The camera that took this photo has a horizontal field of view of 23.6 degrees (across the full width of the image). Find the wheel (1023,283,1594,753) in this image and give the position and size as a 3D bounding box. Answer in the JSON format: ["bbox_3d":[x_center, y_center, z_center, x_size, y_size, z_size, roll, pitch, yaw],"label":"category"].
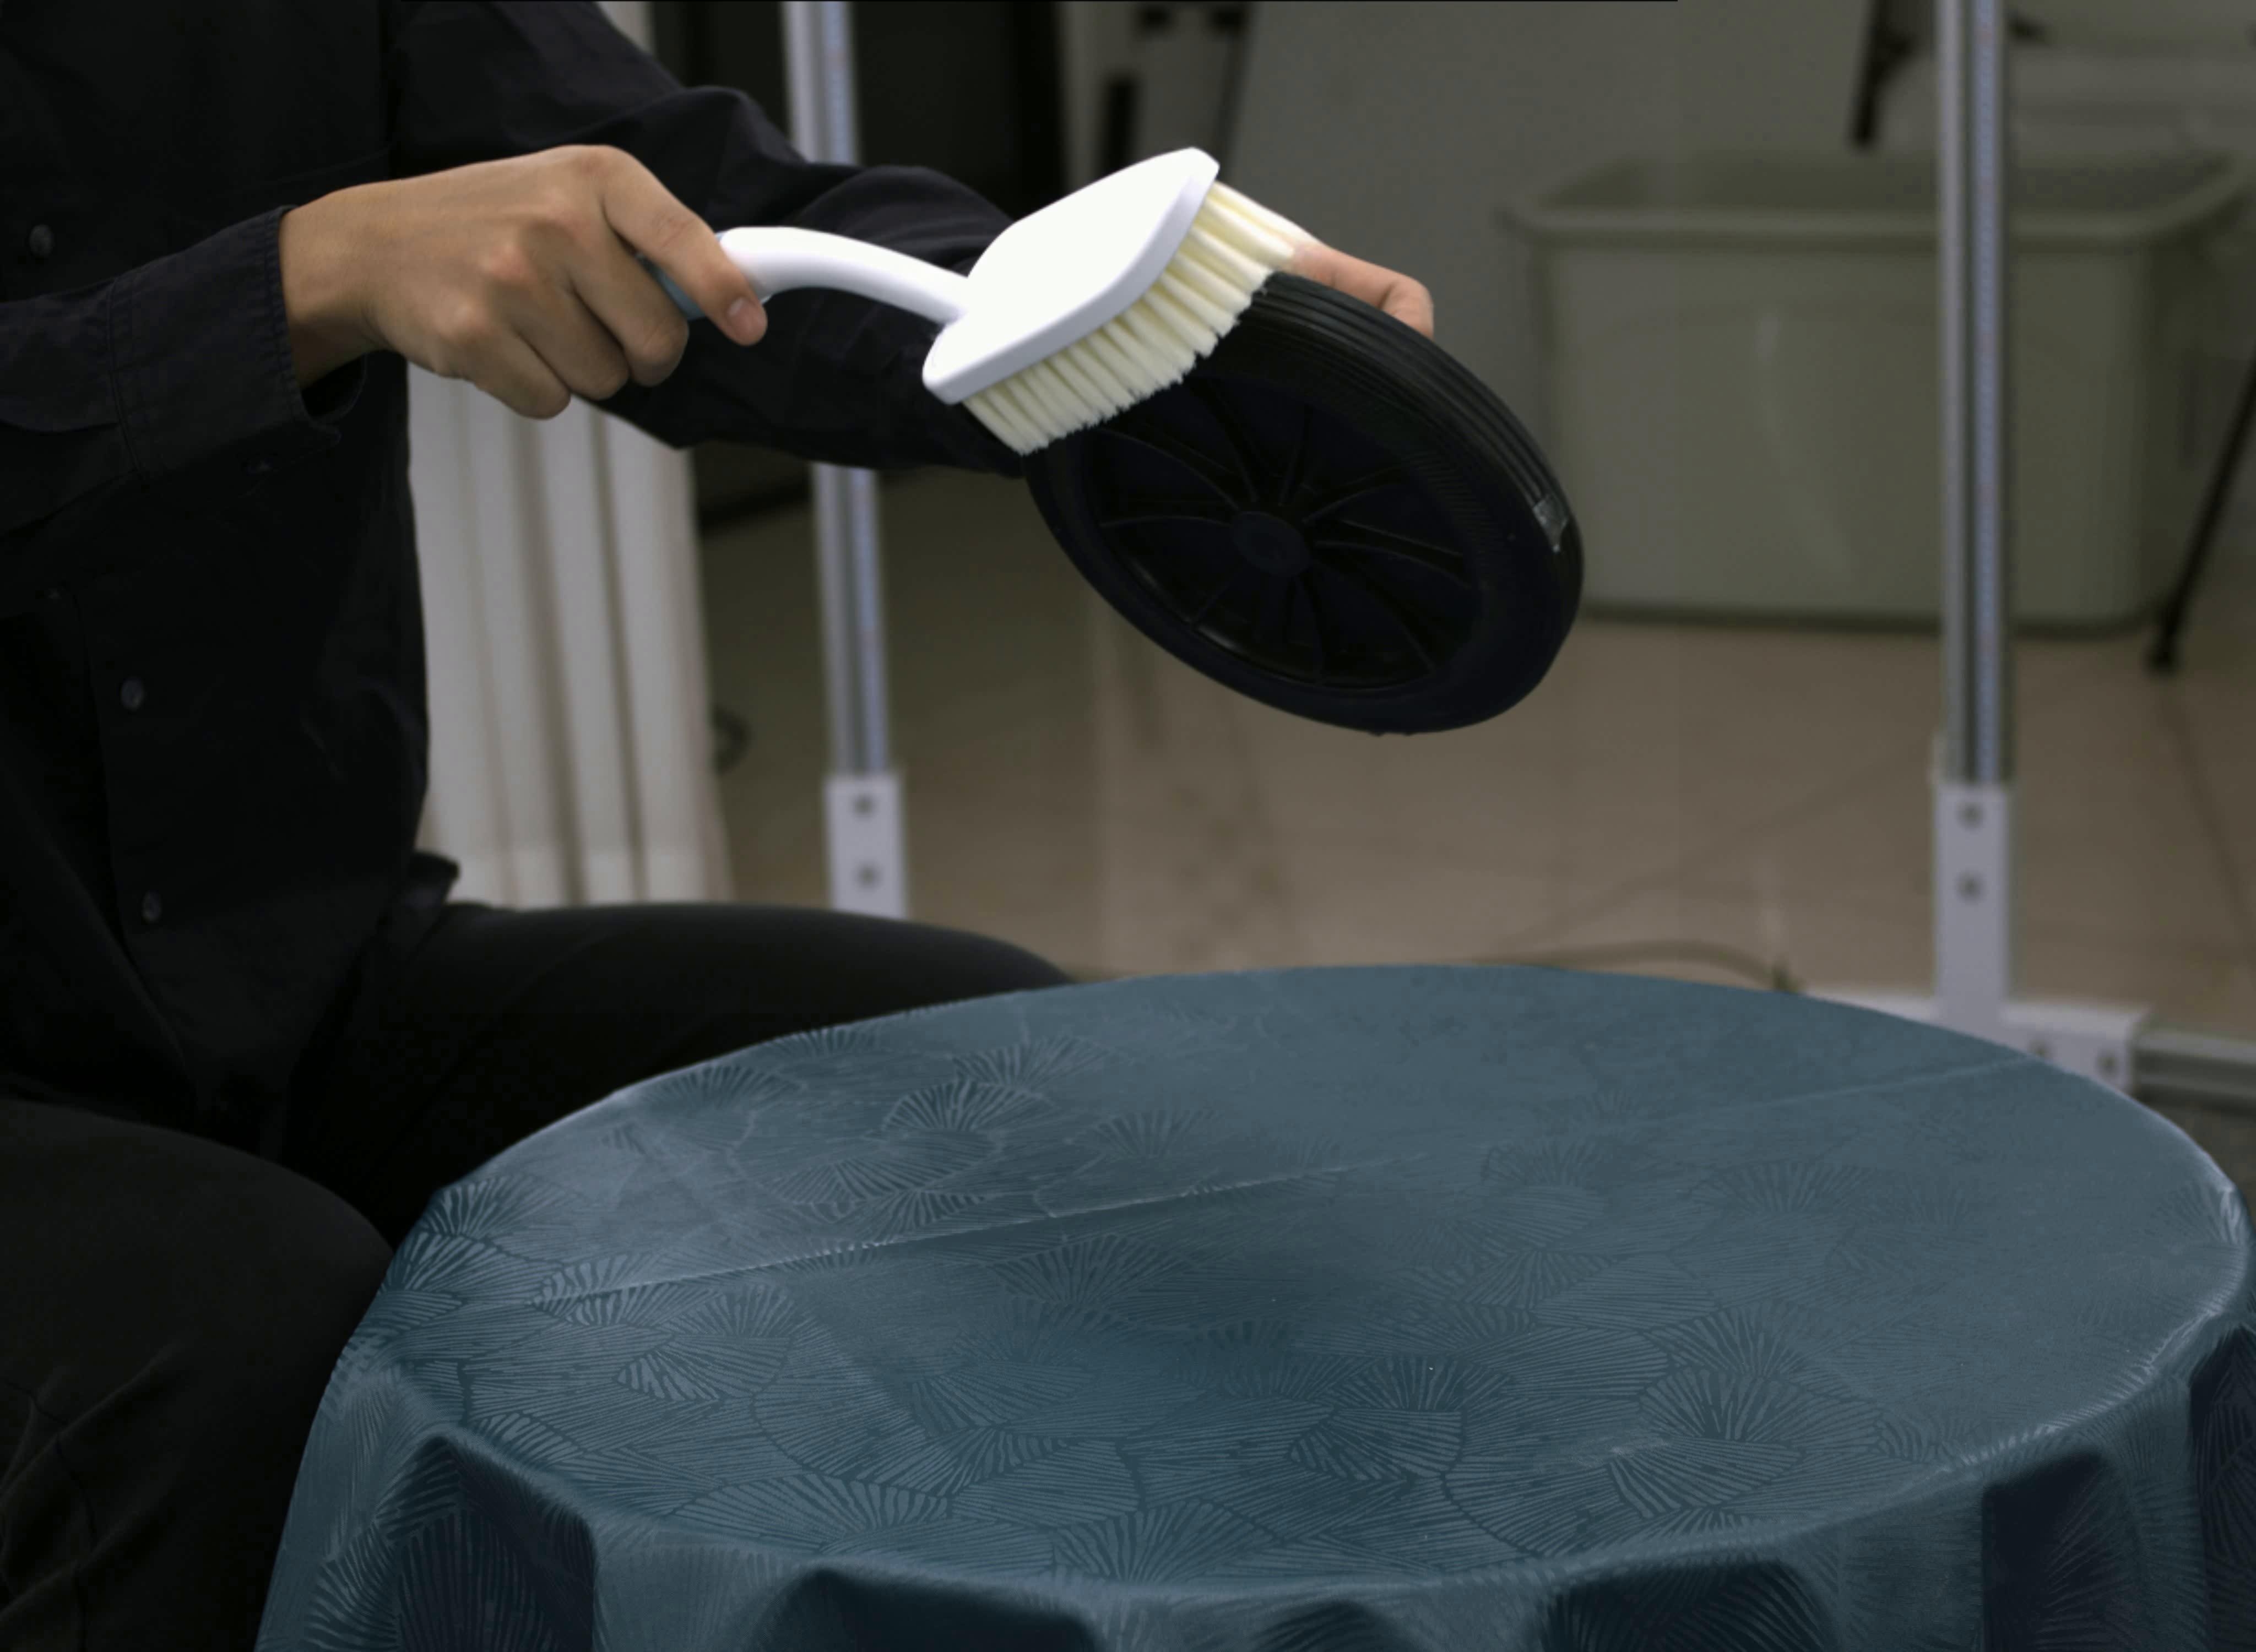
[{"bbox_3d":[0.064,-0.109,1.693,0.189,0.188,0.079,23,56,10],"label":"wheel"}]

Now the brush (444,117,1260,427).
[{"bbox_3d":[-0.079,-0.157,1.655,0.328,0.085,0.081,-8,11,43],"label":"brush"}]
